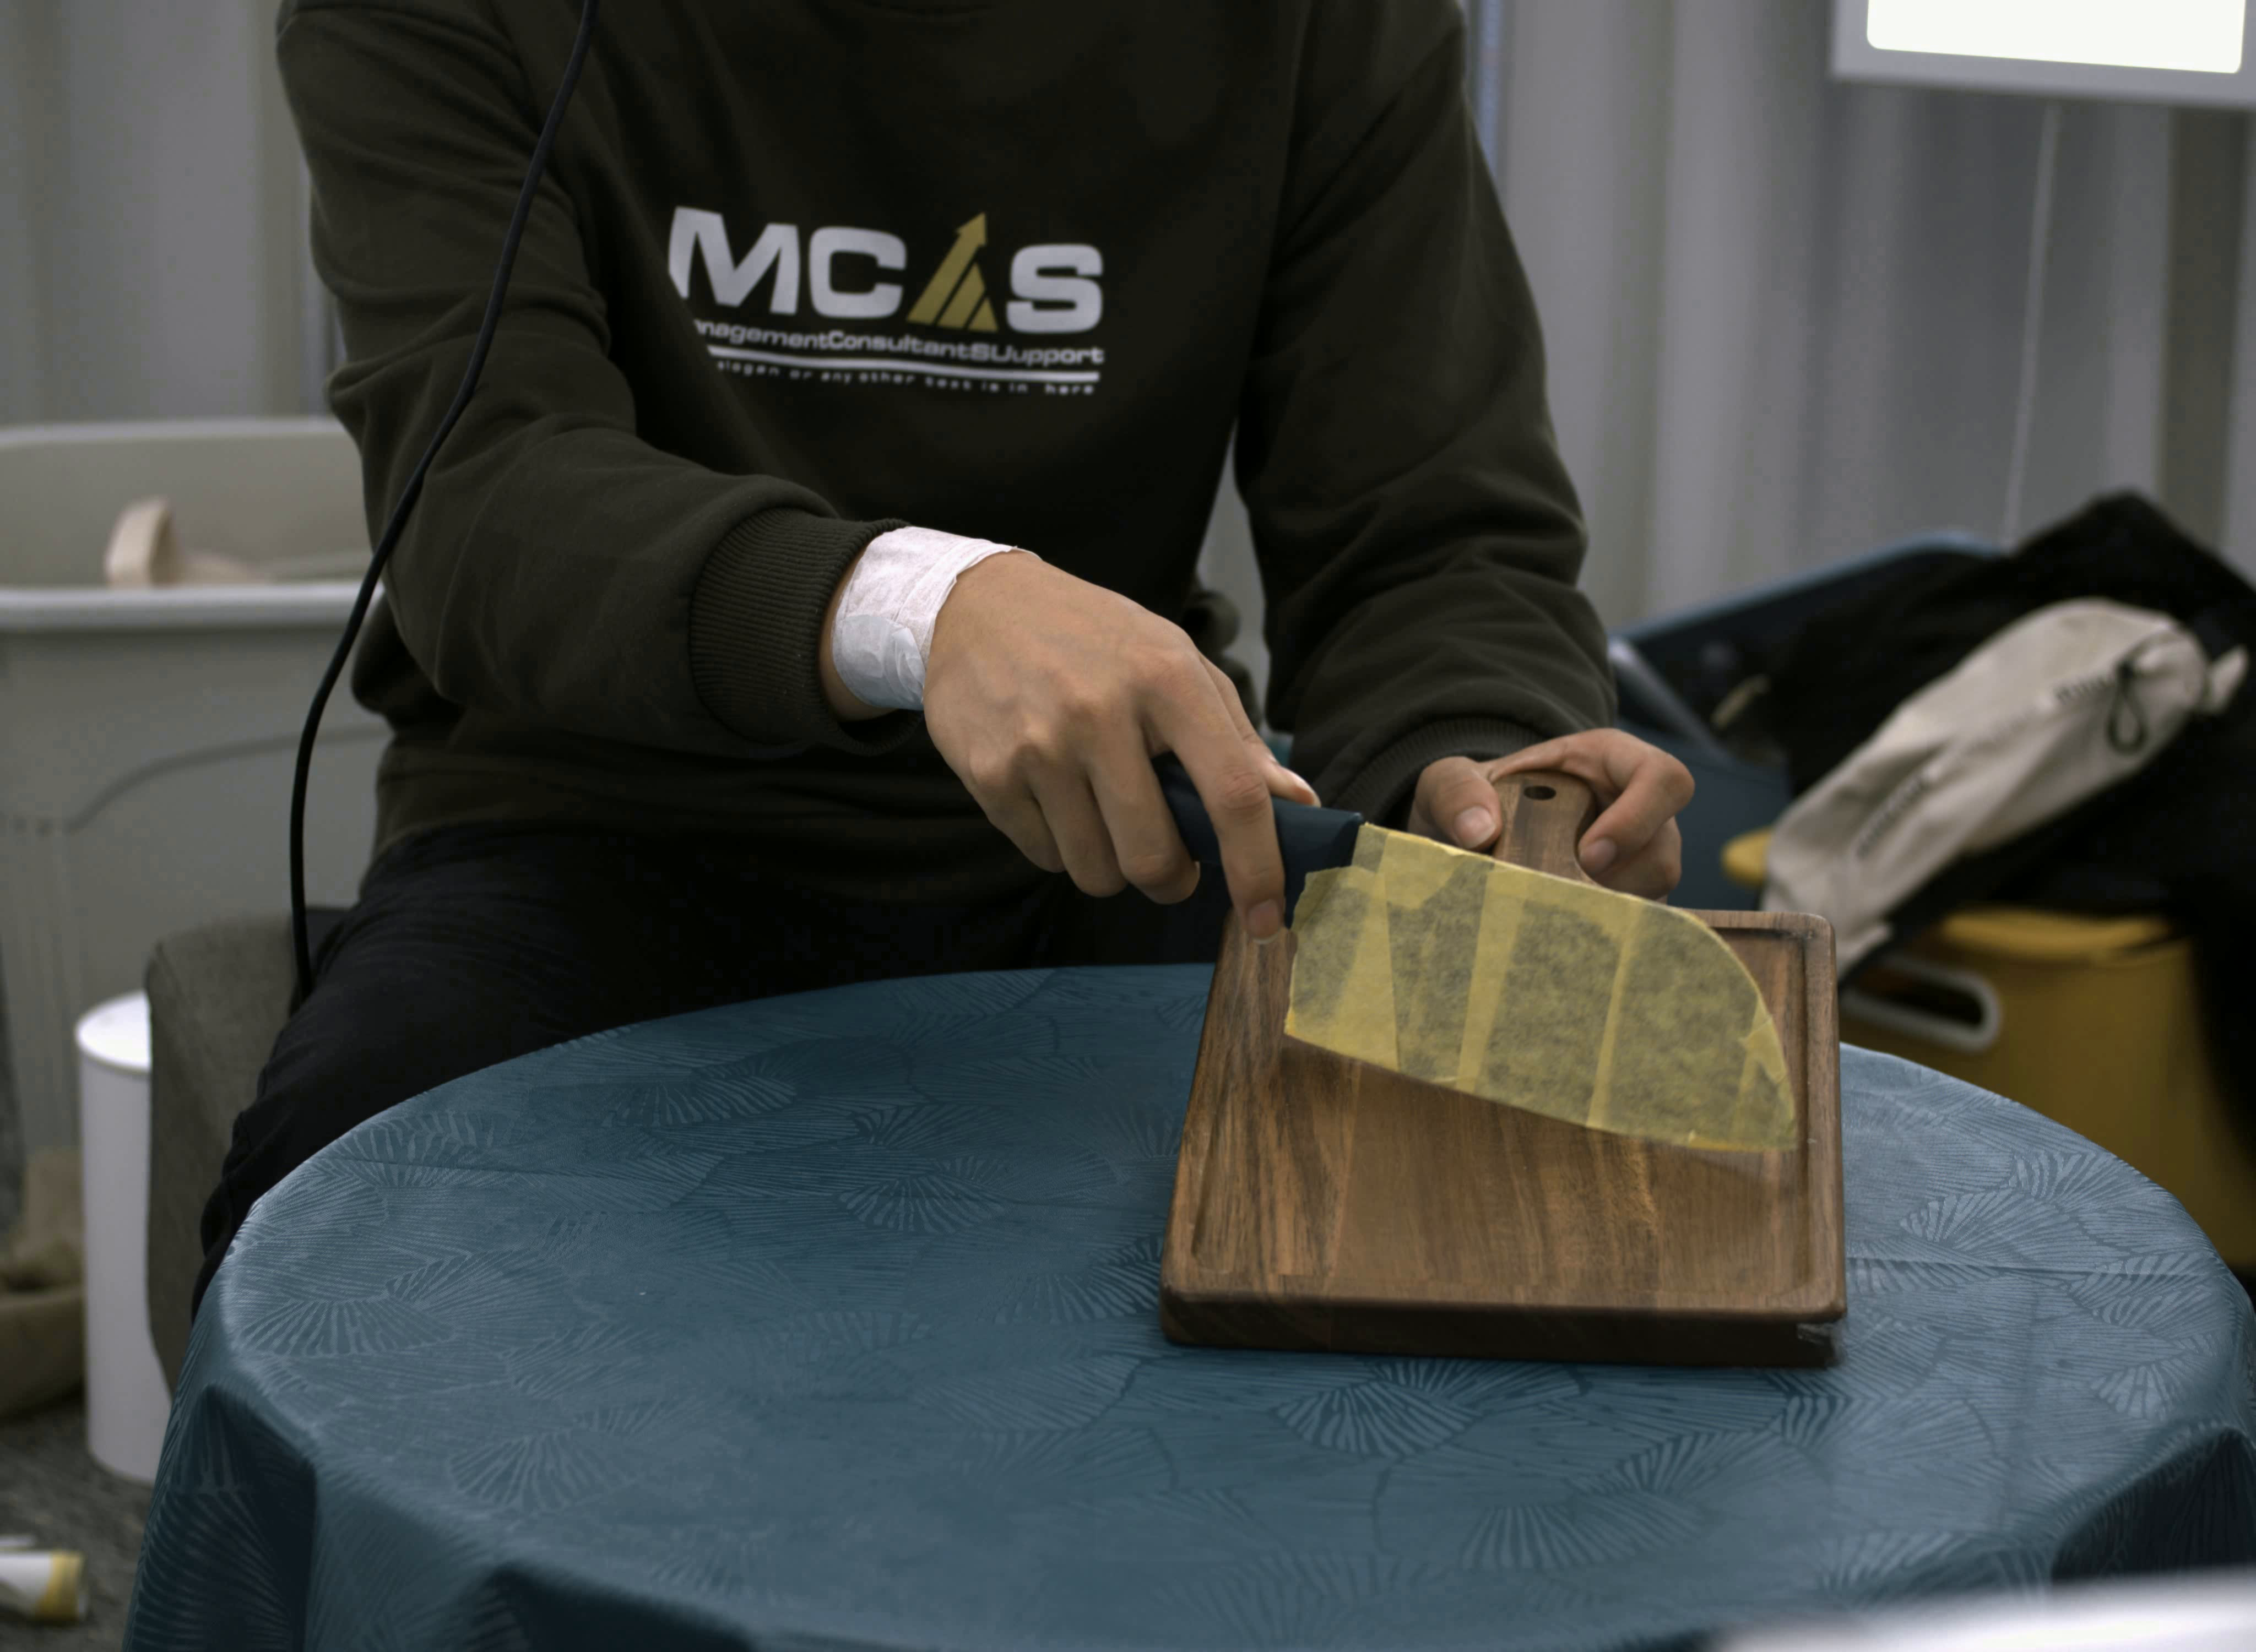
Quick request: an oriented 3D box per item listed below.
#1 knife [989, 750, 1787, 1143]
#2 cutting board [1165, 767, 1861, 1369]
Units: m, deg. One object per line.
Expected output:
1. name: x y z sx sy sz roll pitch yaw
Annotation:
1. knife: 0.075 0.034 1.606 0.286 0.081 0.027 20 13 29
2. cutting board: 0.122 0.066 1.636 0.200 0.023 0.350 2 26 5
